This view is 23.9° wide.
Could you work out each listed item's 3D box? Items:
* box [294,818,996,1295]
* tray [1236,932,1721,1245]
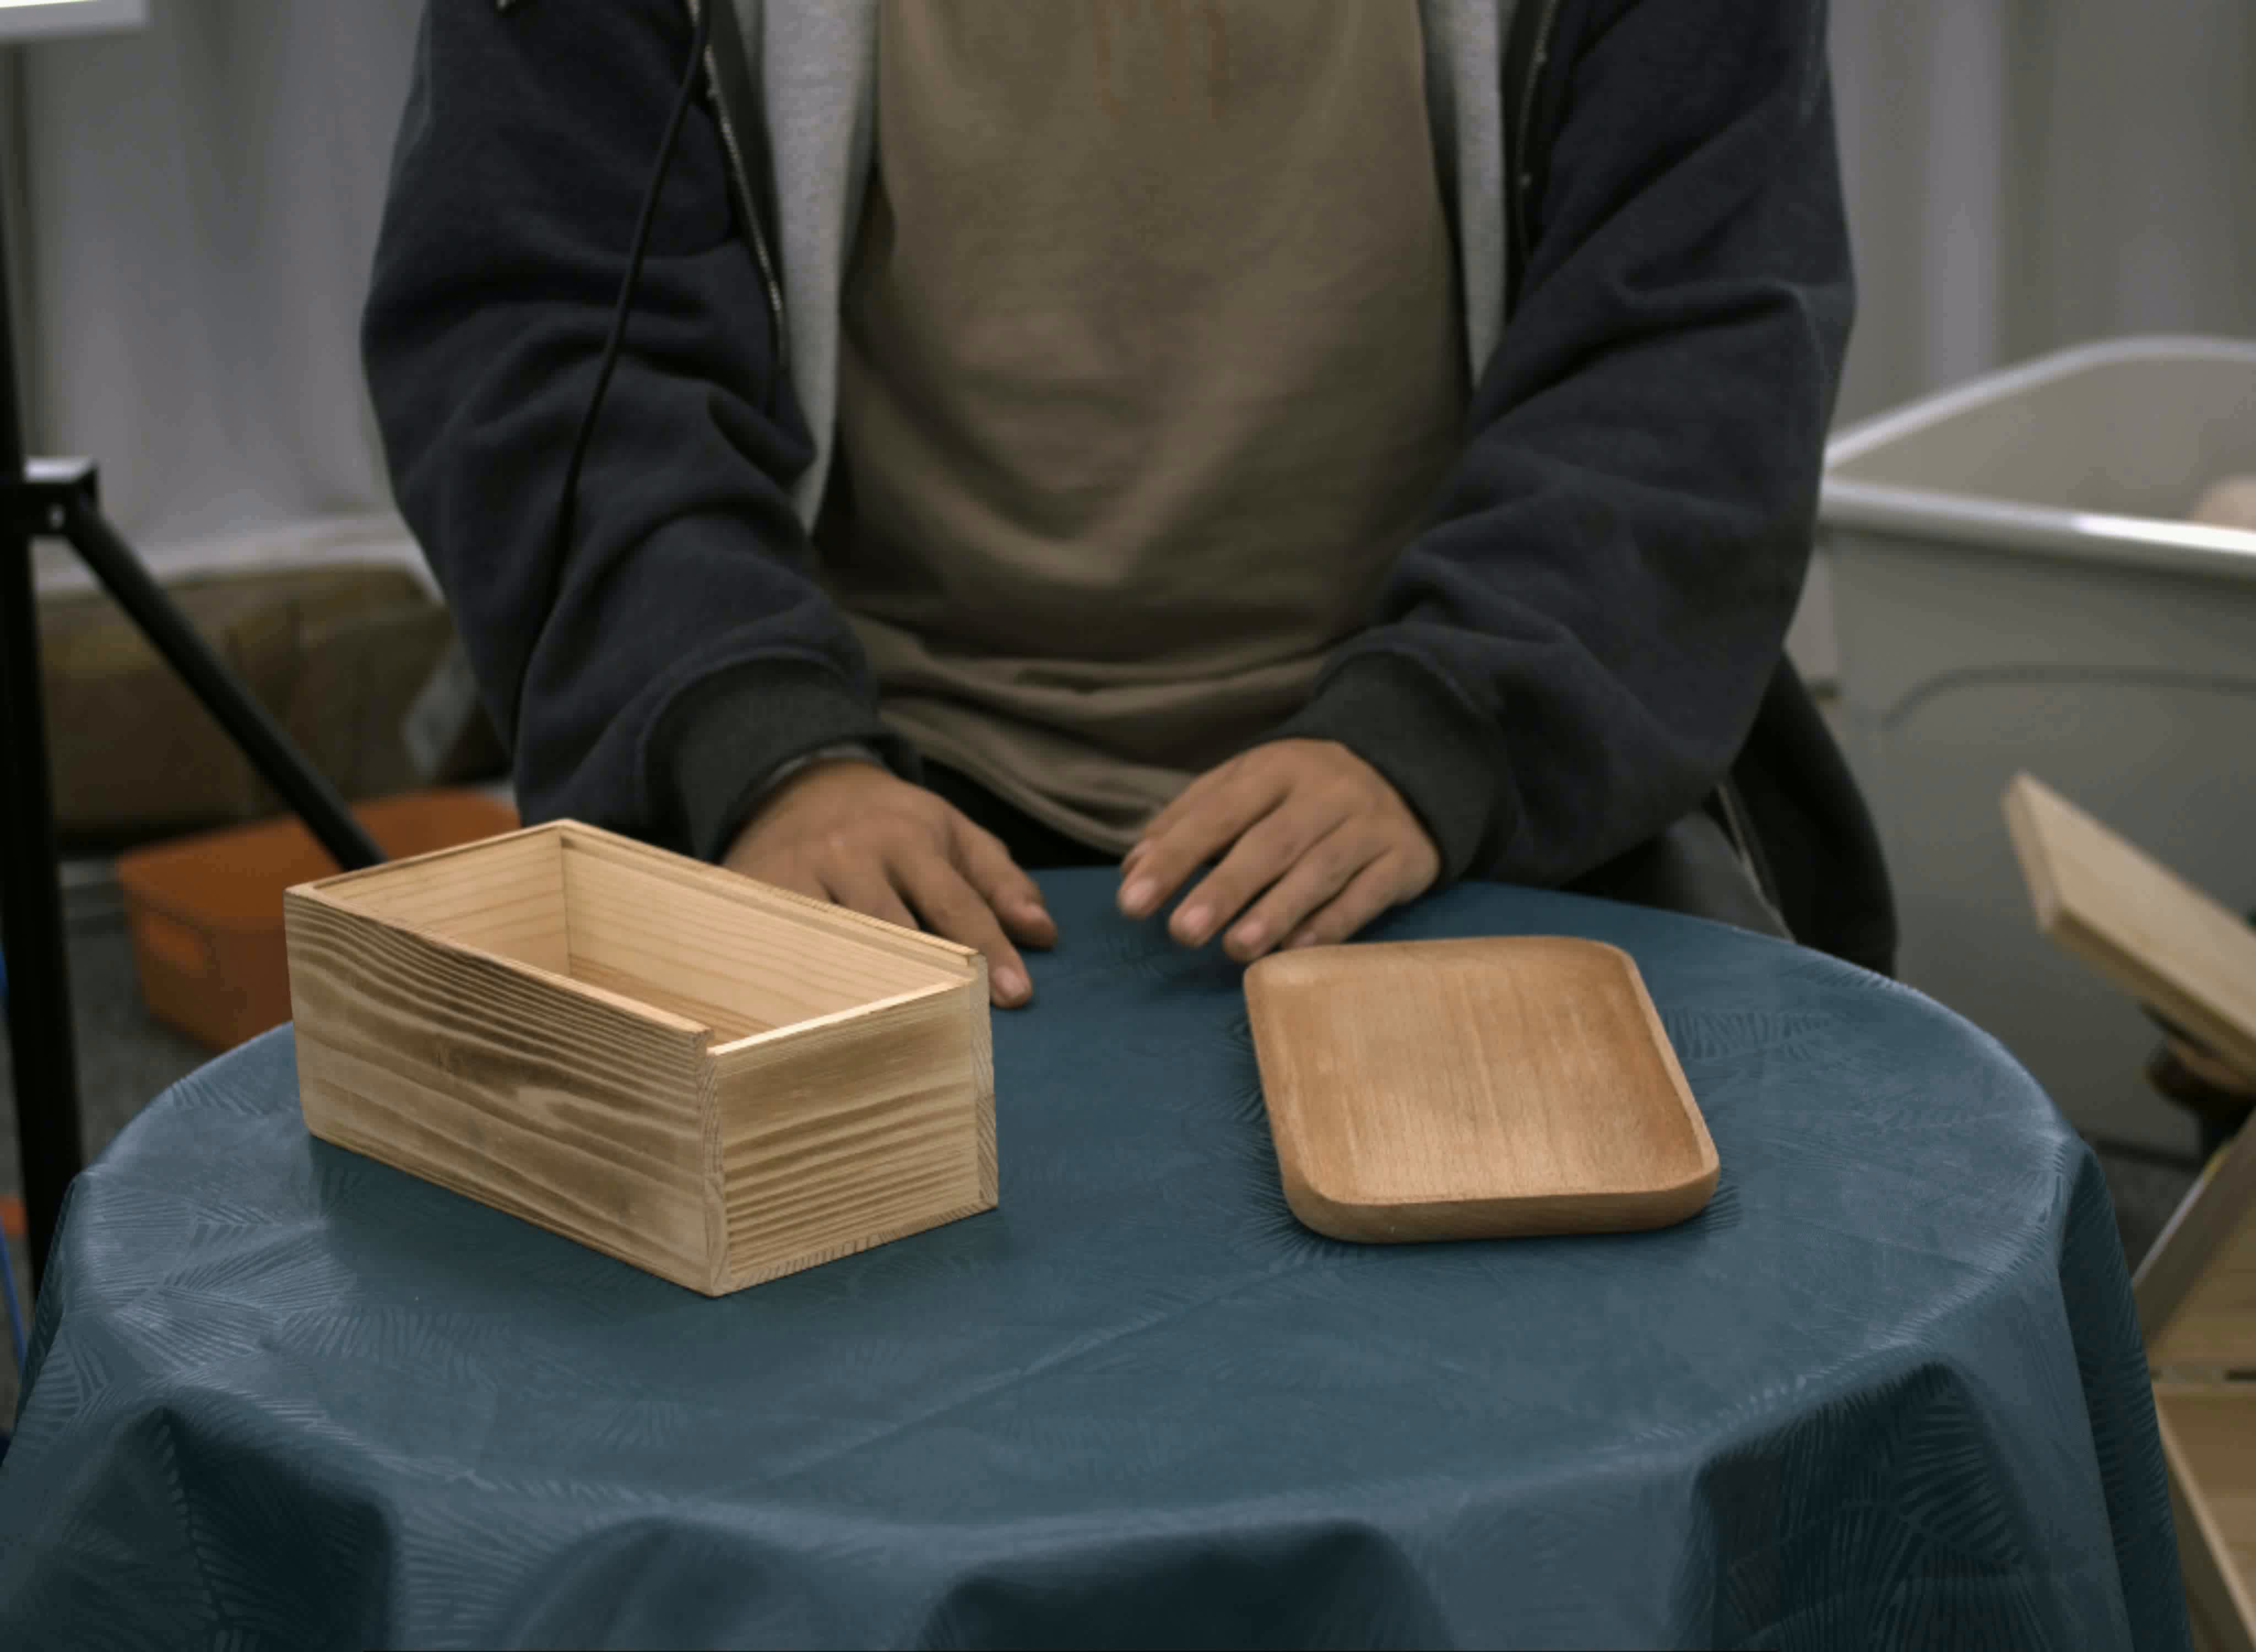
[{"bbox_3d":[-0.147,0.065,1.593,0.105,0.080,0.216,-15,20,-37],"label":"box"},{"bbox_3d":[0.103,0.078,1.618,0.130,0.023,0.252,0,15,-1],"label":"tray"}]
